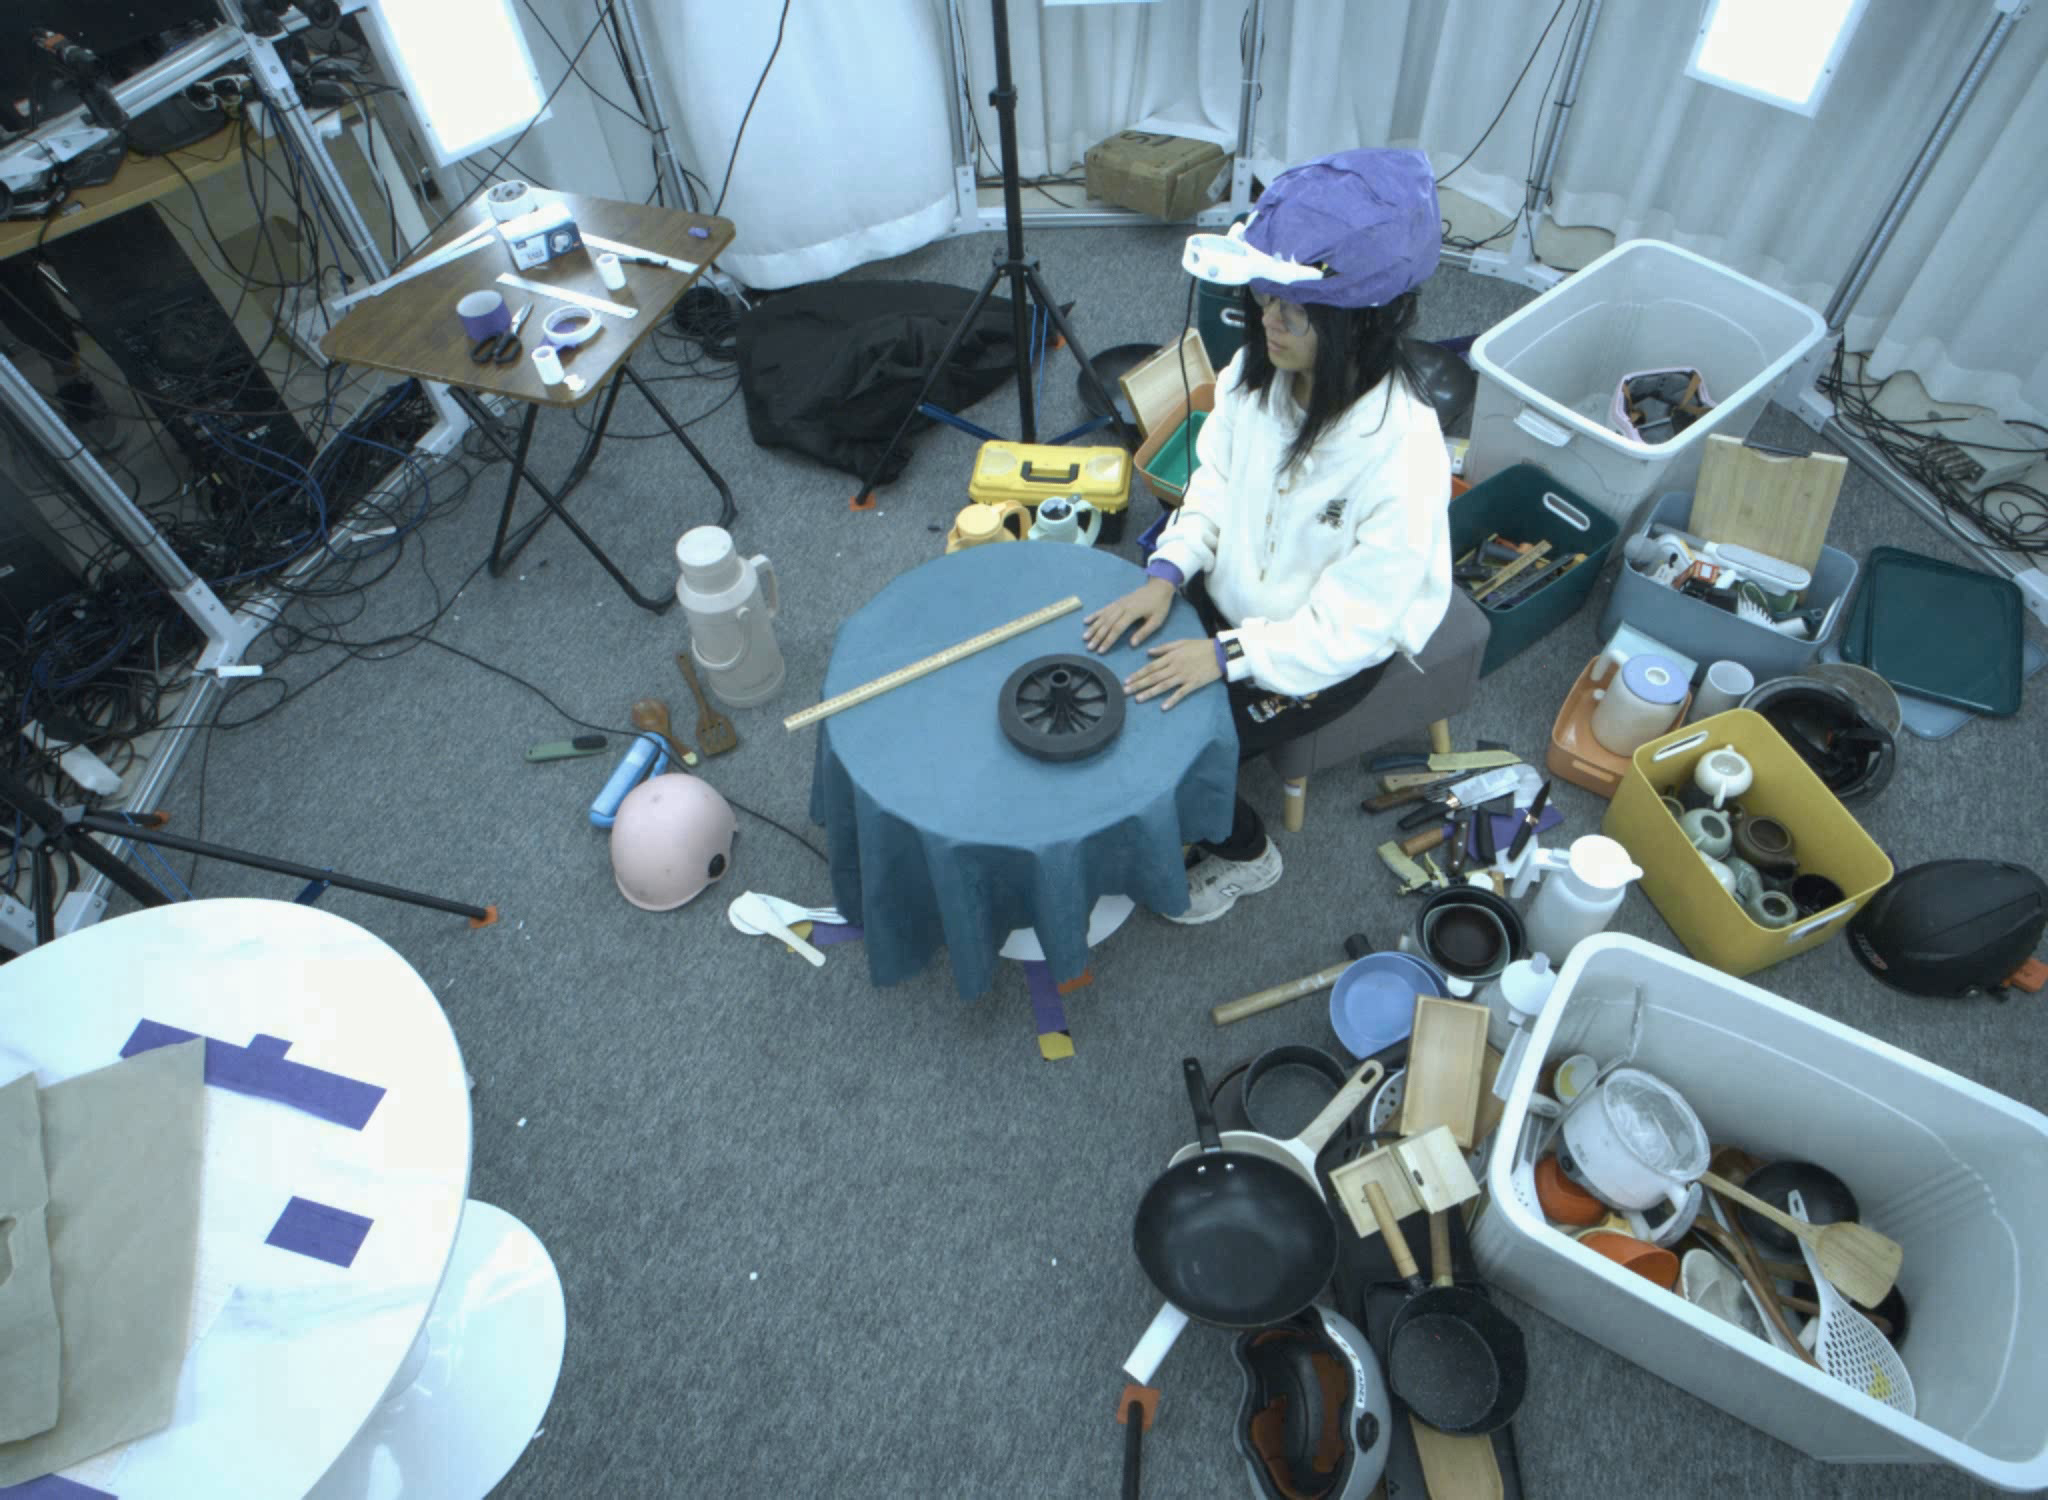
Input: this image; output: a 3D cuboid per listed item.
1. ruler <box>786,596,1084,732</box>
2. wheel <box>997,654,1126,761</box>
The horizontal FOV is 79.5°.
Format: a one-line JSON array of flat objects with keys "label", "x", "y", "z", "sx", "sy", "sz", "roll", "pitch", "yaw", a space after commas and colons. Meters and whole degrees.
[{"label": "ruler", "x": -0.133, "y": -0.138, "z": 1.887, "sx": 0.504, "sy": 0.006, "sz": 0.026, "roll": -24, "pitch": 56, "yaw": -15}, {"label": "wheel", "x": 0.054, "y": -0.077, "z": 1.794, "sx": 0.187, "sy": 0.080, "sz": 0.188, "roll": 22, "pitch": 58, "yaw": 16}]
